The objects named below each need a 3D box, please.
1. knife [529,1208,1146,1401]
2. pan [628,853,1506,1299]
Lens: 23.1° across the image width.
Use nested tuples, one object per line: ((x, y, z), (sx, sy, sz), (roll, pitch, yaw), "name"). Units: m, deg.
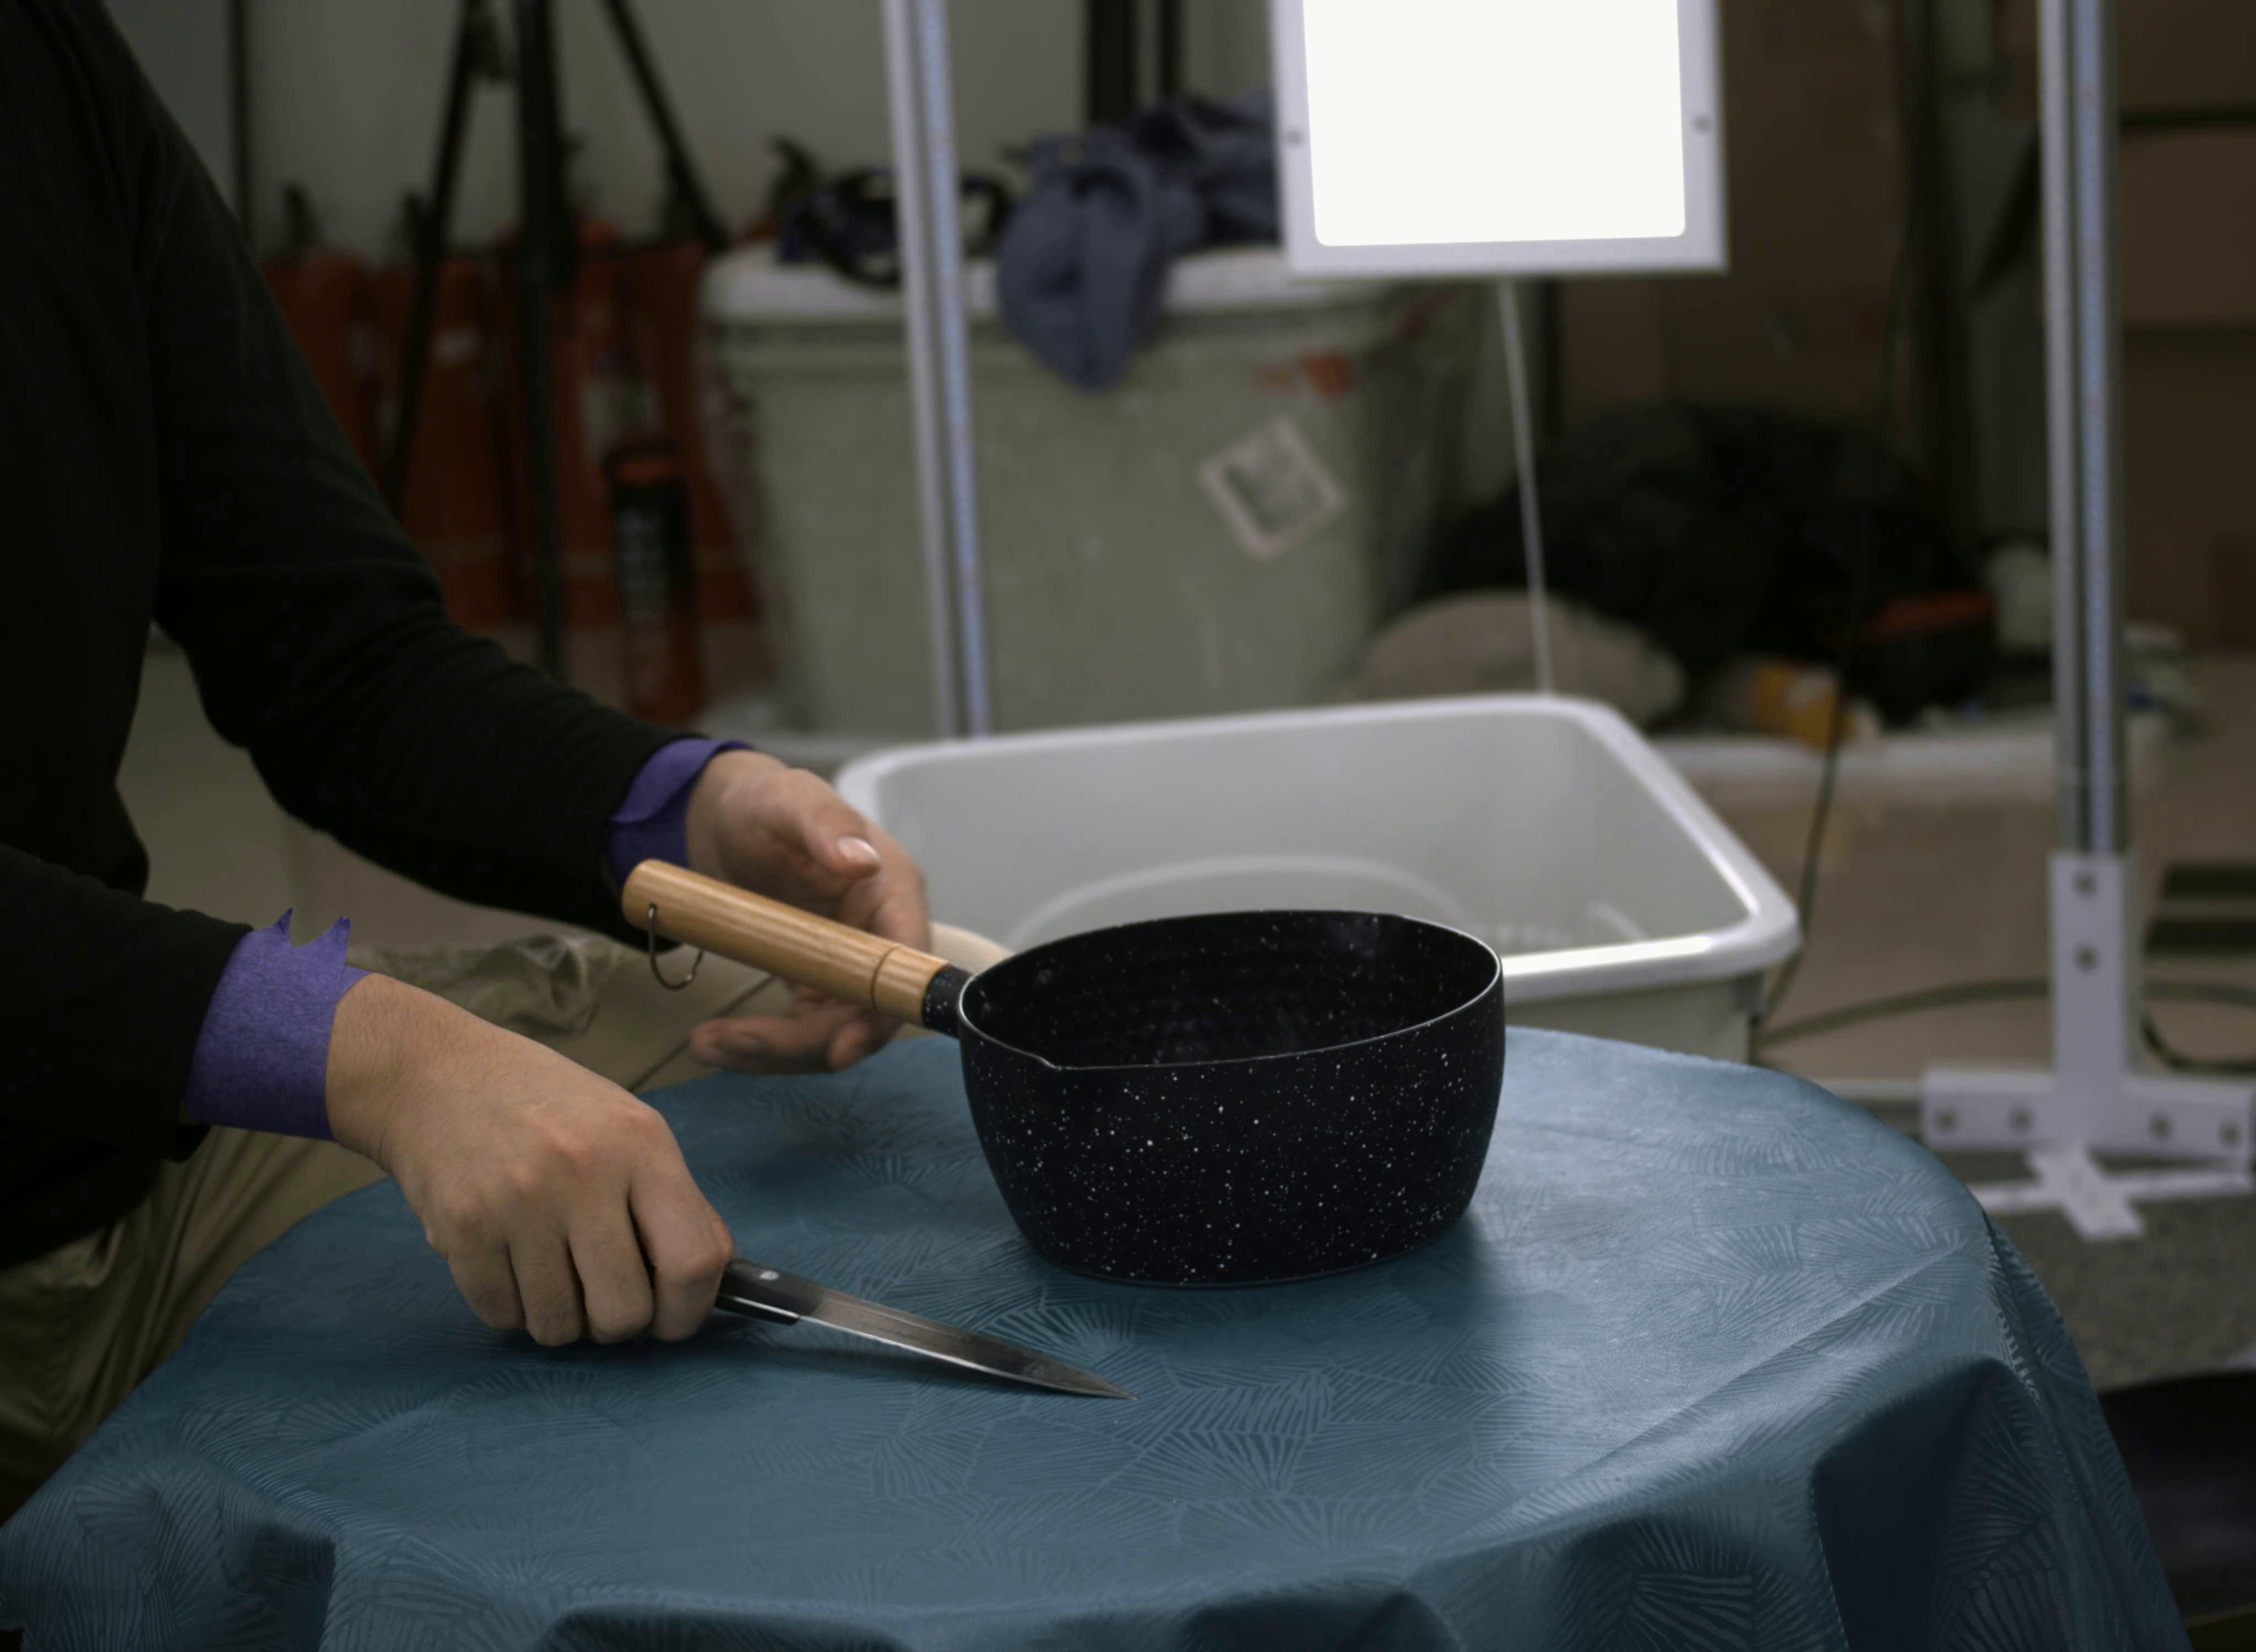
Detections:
((-0.097, 0.155, 1.758), (0.242, 0.016, 0.024), (12, 19, 31), "knife")
((-0.031, 0.077, 1.889), (0.349, 0.108, 0.202), (6, 18, 33), "pan")
